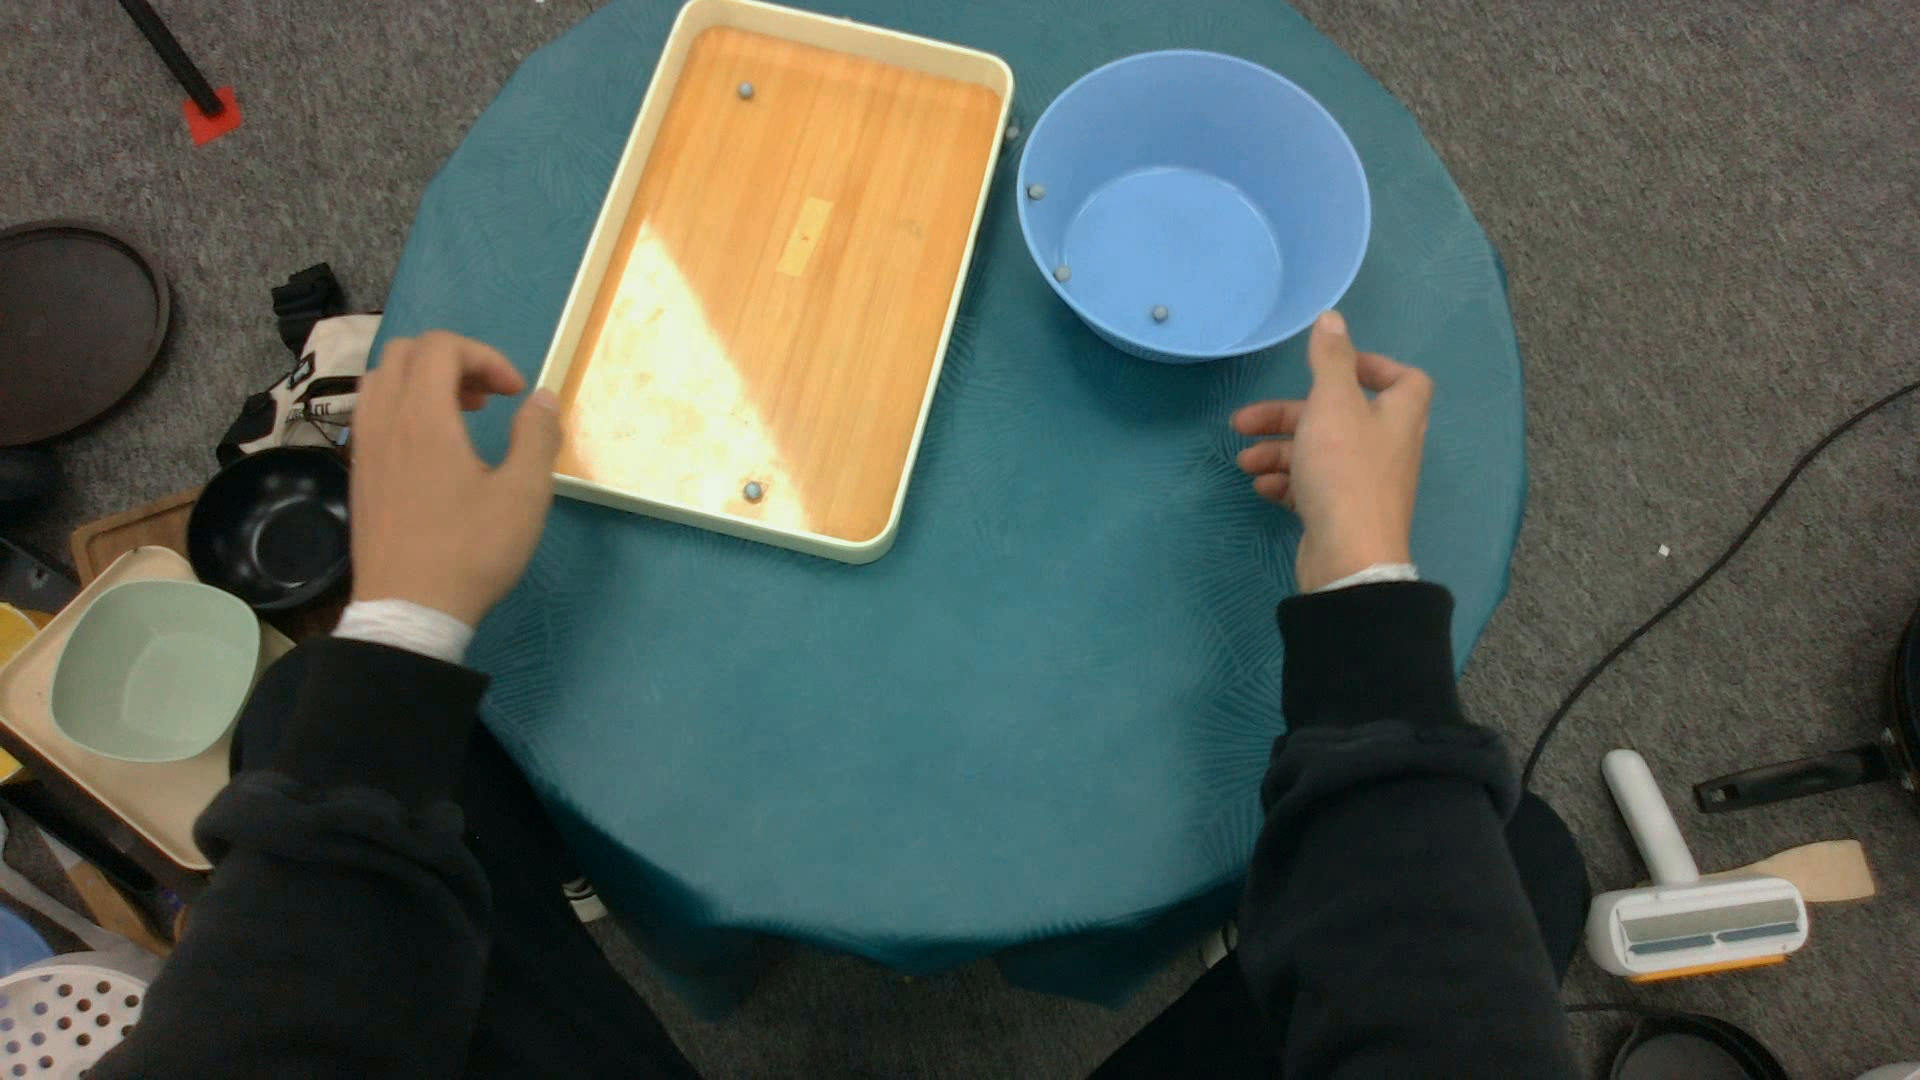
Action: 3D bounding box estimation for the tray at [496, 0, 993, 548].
[{"bbox_3d":[-0.104,-0.153,0.721,0.191,0.027,0.301,13,69,1],"label":"tray"}]

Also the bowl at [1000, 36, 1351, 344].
[{"bbox_3d":[0.107,-0.169,0.715,0.176,0.070,0.176,1,70,-2],"label":"bowl"}]
